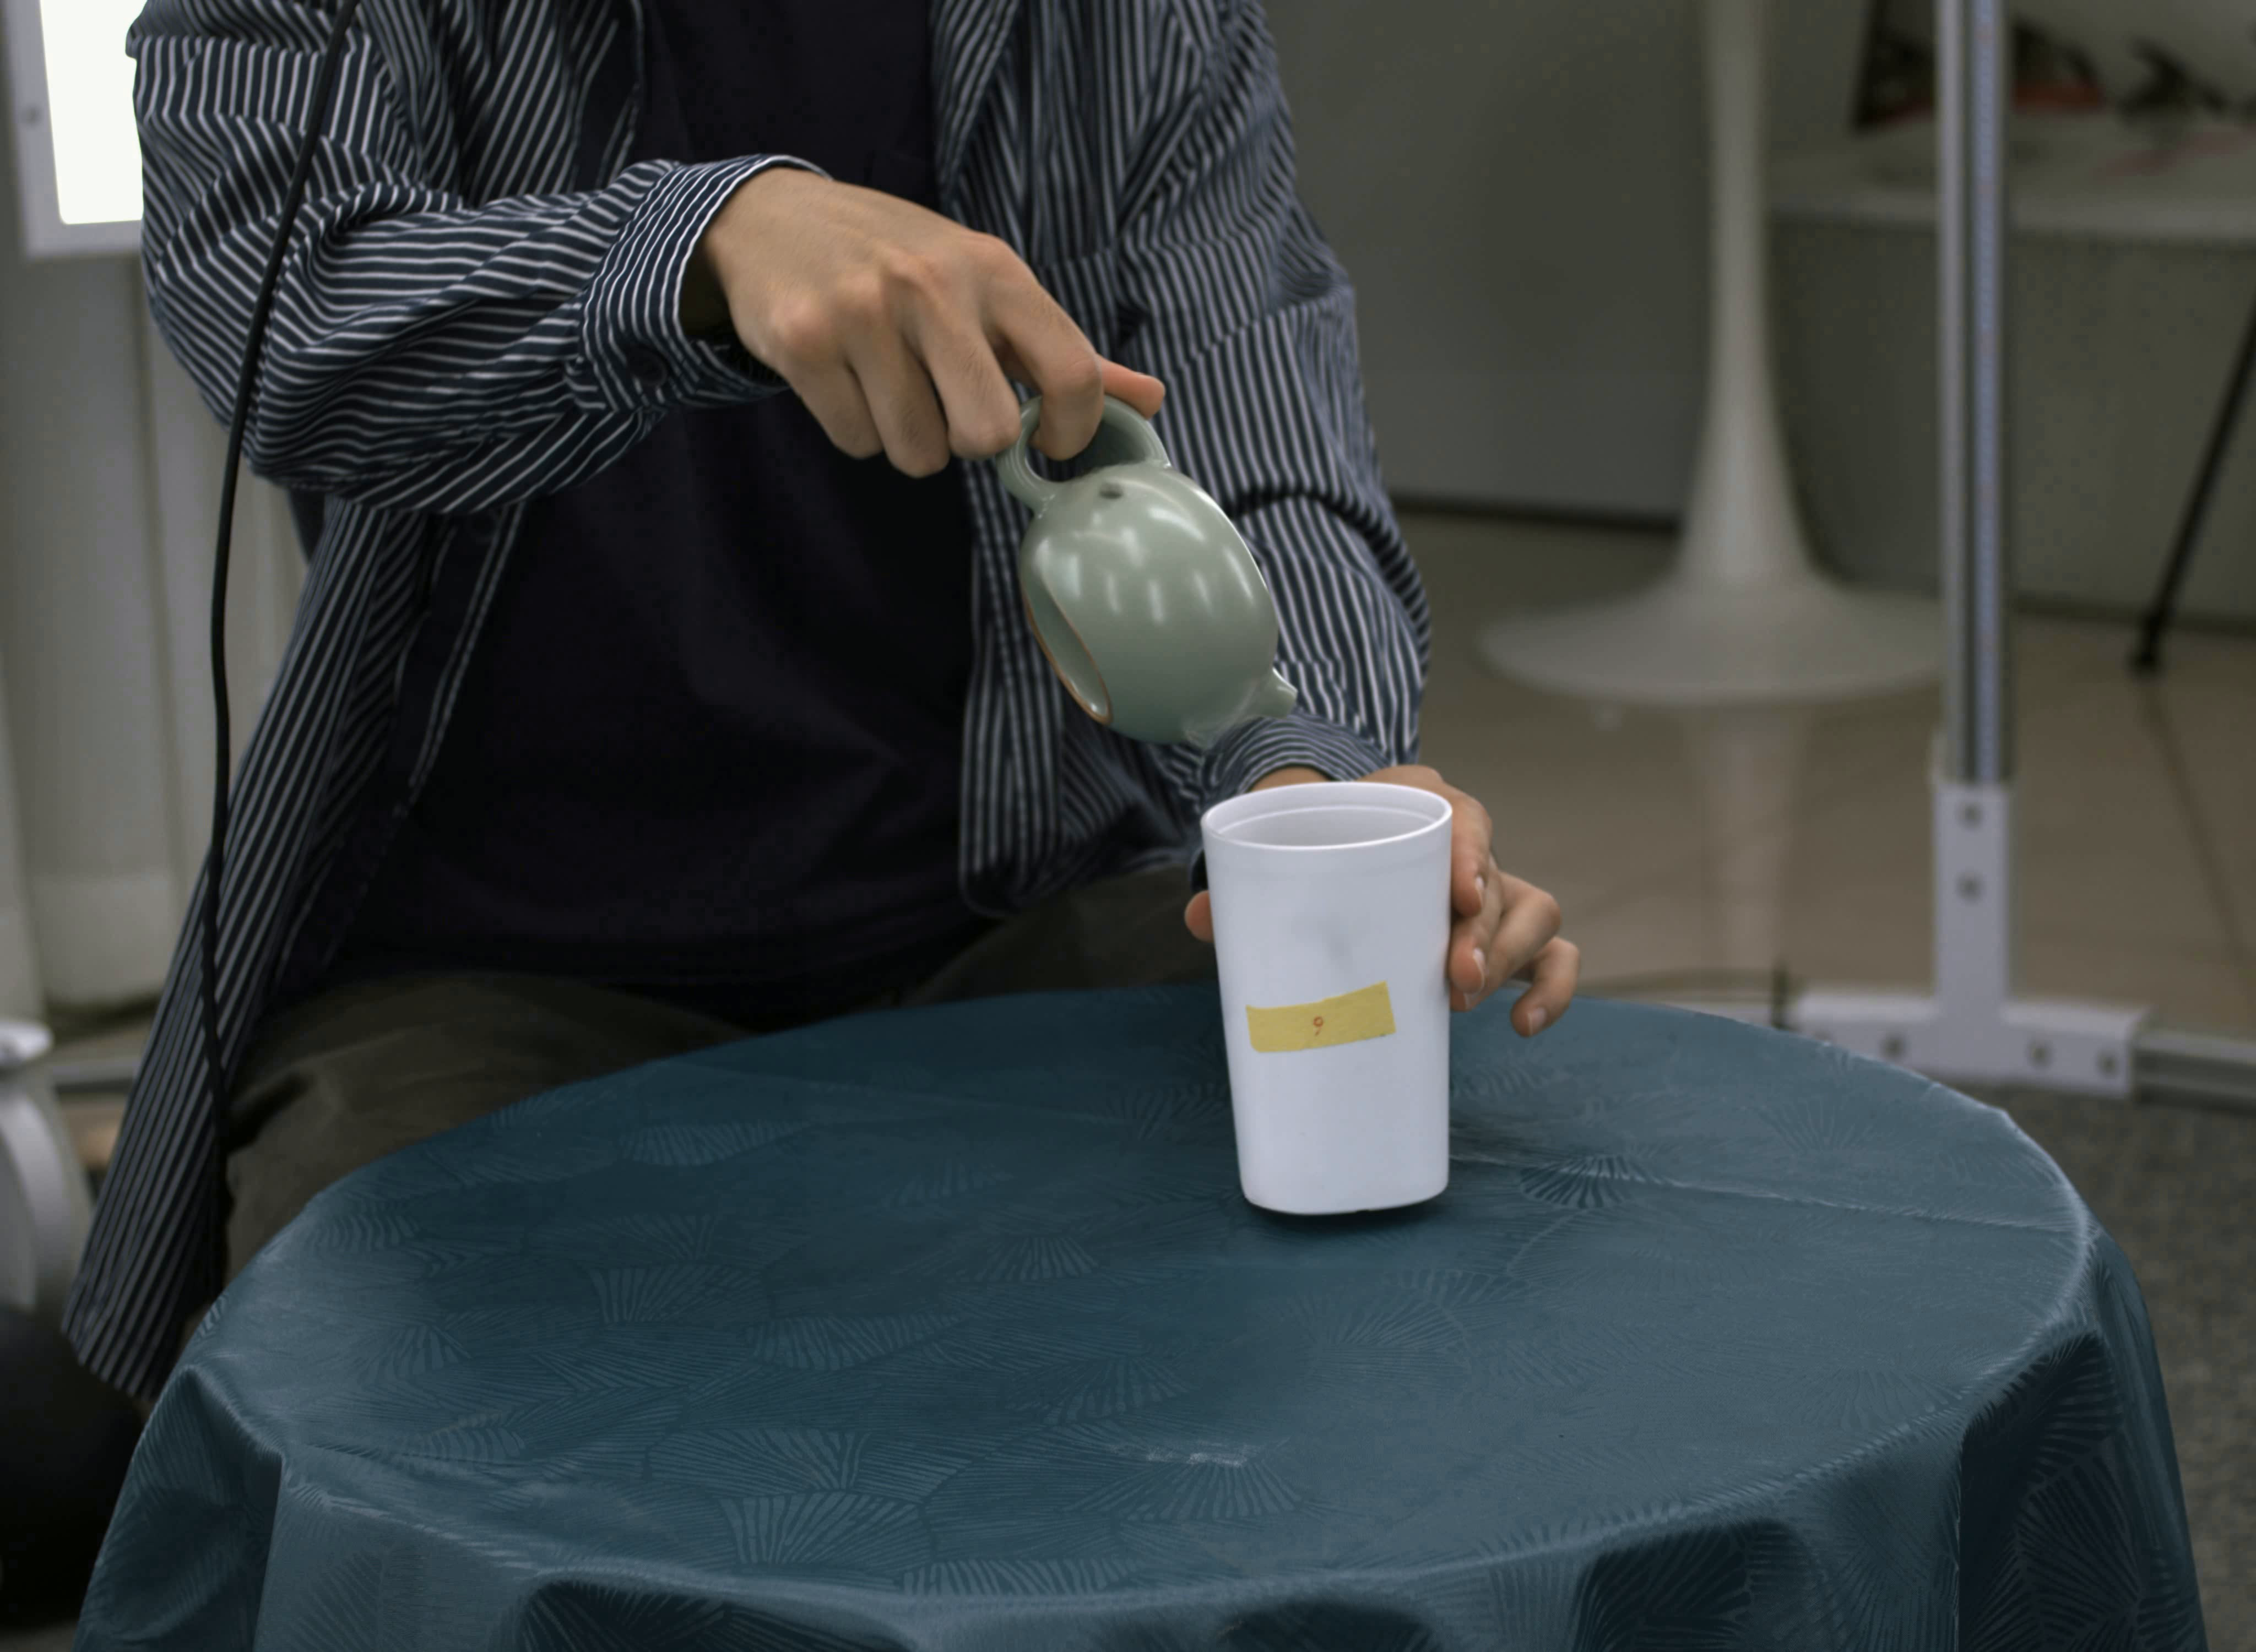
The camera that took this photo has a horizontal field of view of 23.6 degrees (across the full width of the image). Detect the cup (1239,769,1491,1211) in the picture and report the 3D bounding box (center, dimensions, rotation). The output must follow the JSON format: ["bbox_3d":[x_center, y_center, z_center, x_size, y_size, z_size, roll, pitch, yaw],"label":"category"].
[{"bbox_3d":[0.079,0.053,1.724,0.080,0.127,0.082,-4,13,0],"label":"cup"}]

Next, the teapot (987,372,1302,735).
[{"bbox_3d":[0.000,-0.081,1.671,0.060,0.129,0.092,-32,4,-12],"label":"teapot"}]
